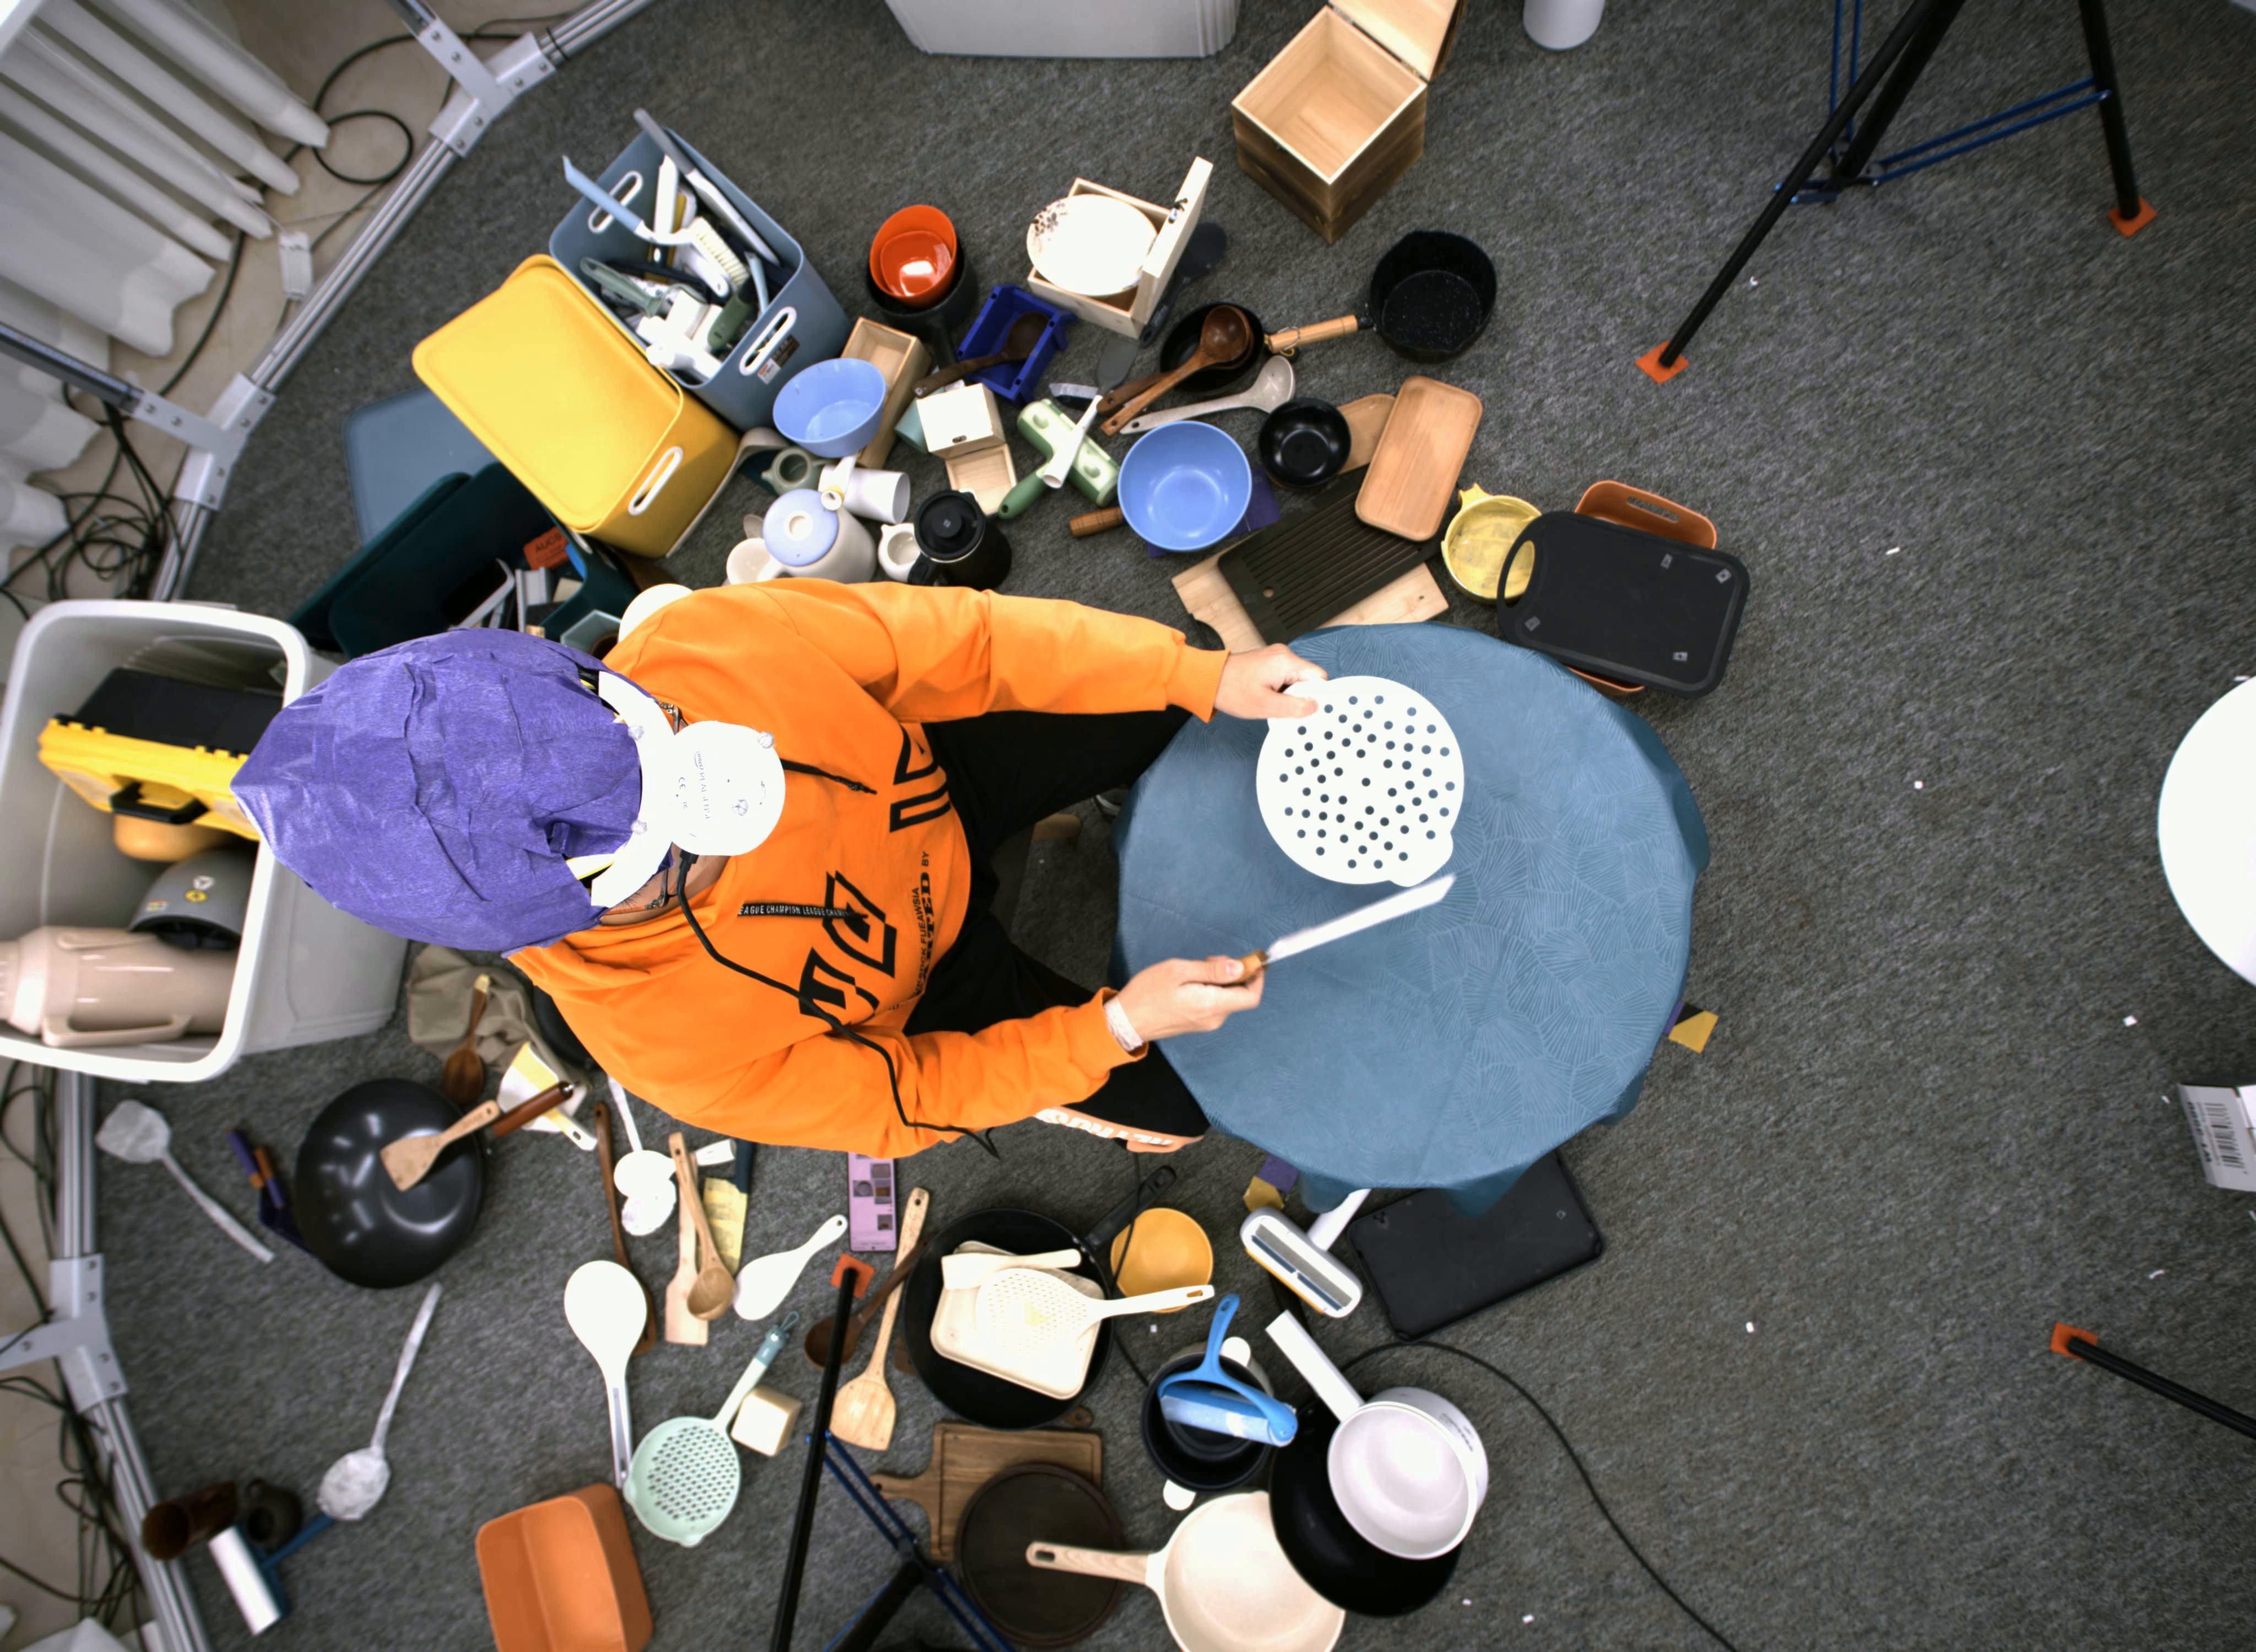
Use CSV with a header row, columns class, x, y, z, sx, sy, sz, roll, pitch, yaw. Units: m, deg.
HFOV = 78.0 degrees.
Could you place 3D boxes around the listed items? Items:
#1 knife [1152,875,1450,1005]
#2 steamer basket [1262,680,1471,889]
class,x,y,z,sx,sy,sz,roll,pitch,yaw
knife,0.164,0.105,1.325,0.310,0.091,0.021,-24,95,27
steamer basket,0.236,-0.042,1.360,0.204,0.068,0.230,-41,84,15
